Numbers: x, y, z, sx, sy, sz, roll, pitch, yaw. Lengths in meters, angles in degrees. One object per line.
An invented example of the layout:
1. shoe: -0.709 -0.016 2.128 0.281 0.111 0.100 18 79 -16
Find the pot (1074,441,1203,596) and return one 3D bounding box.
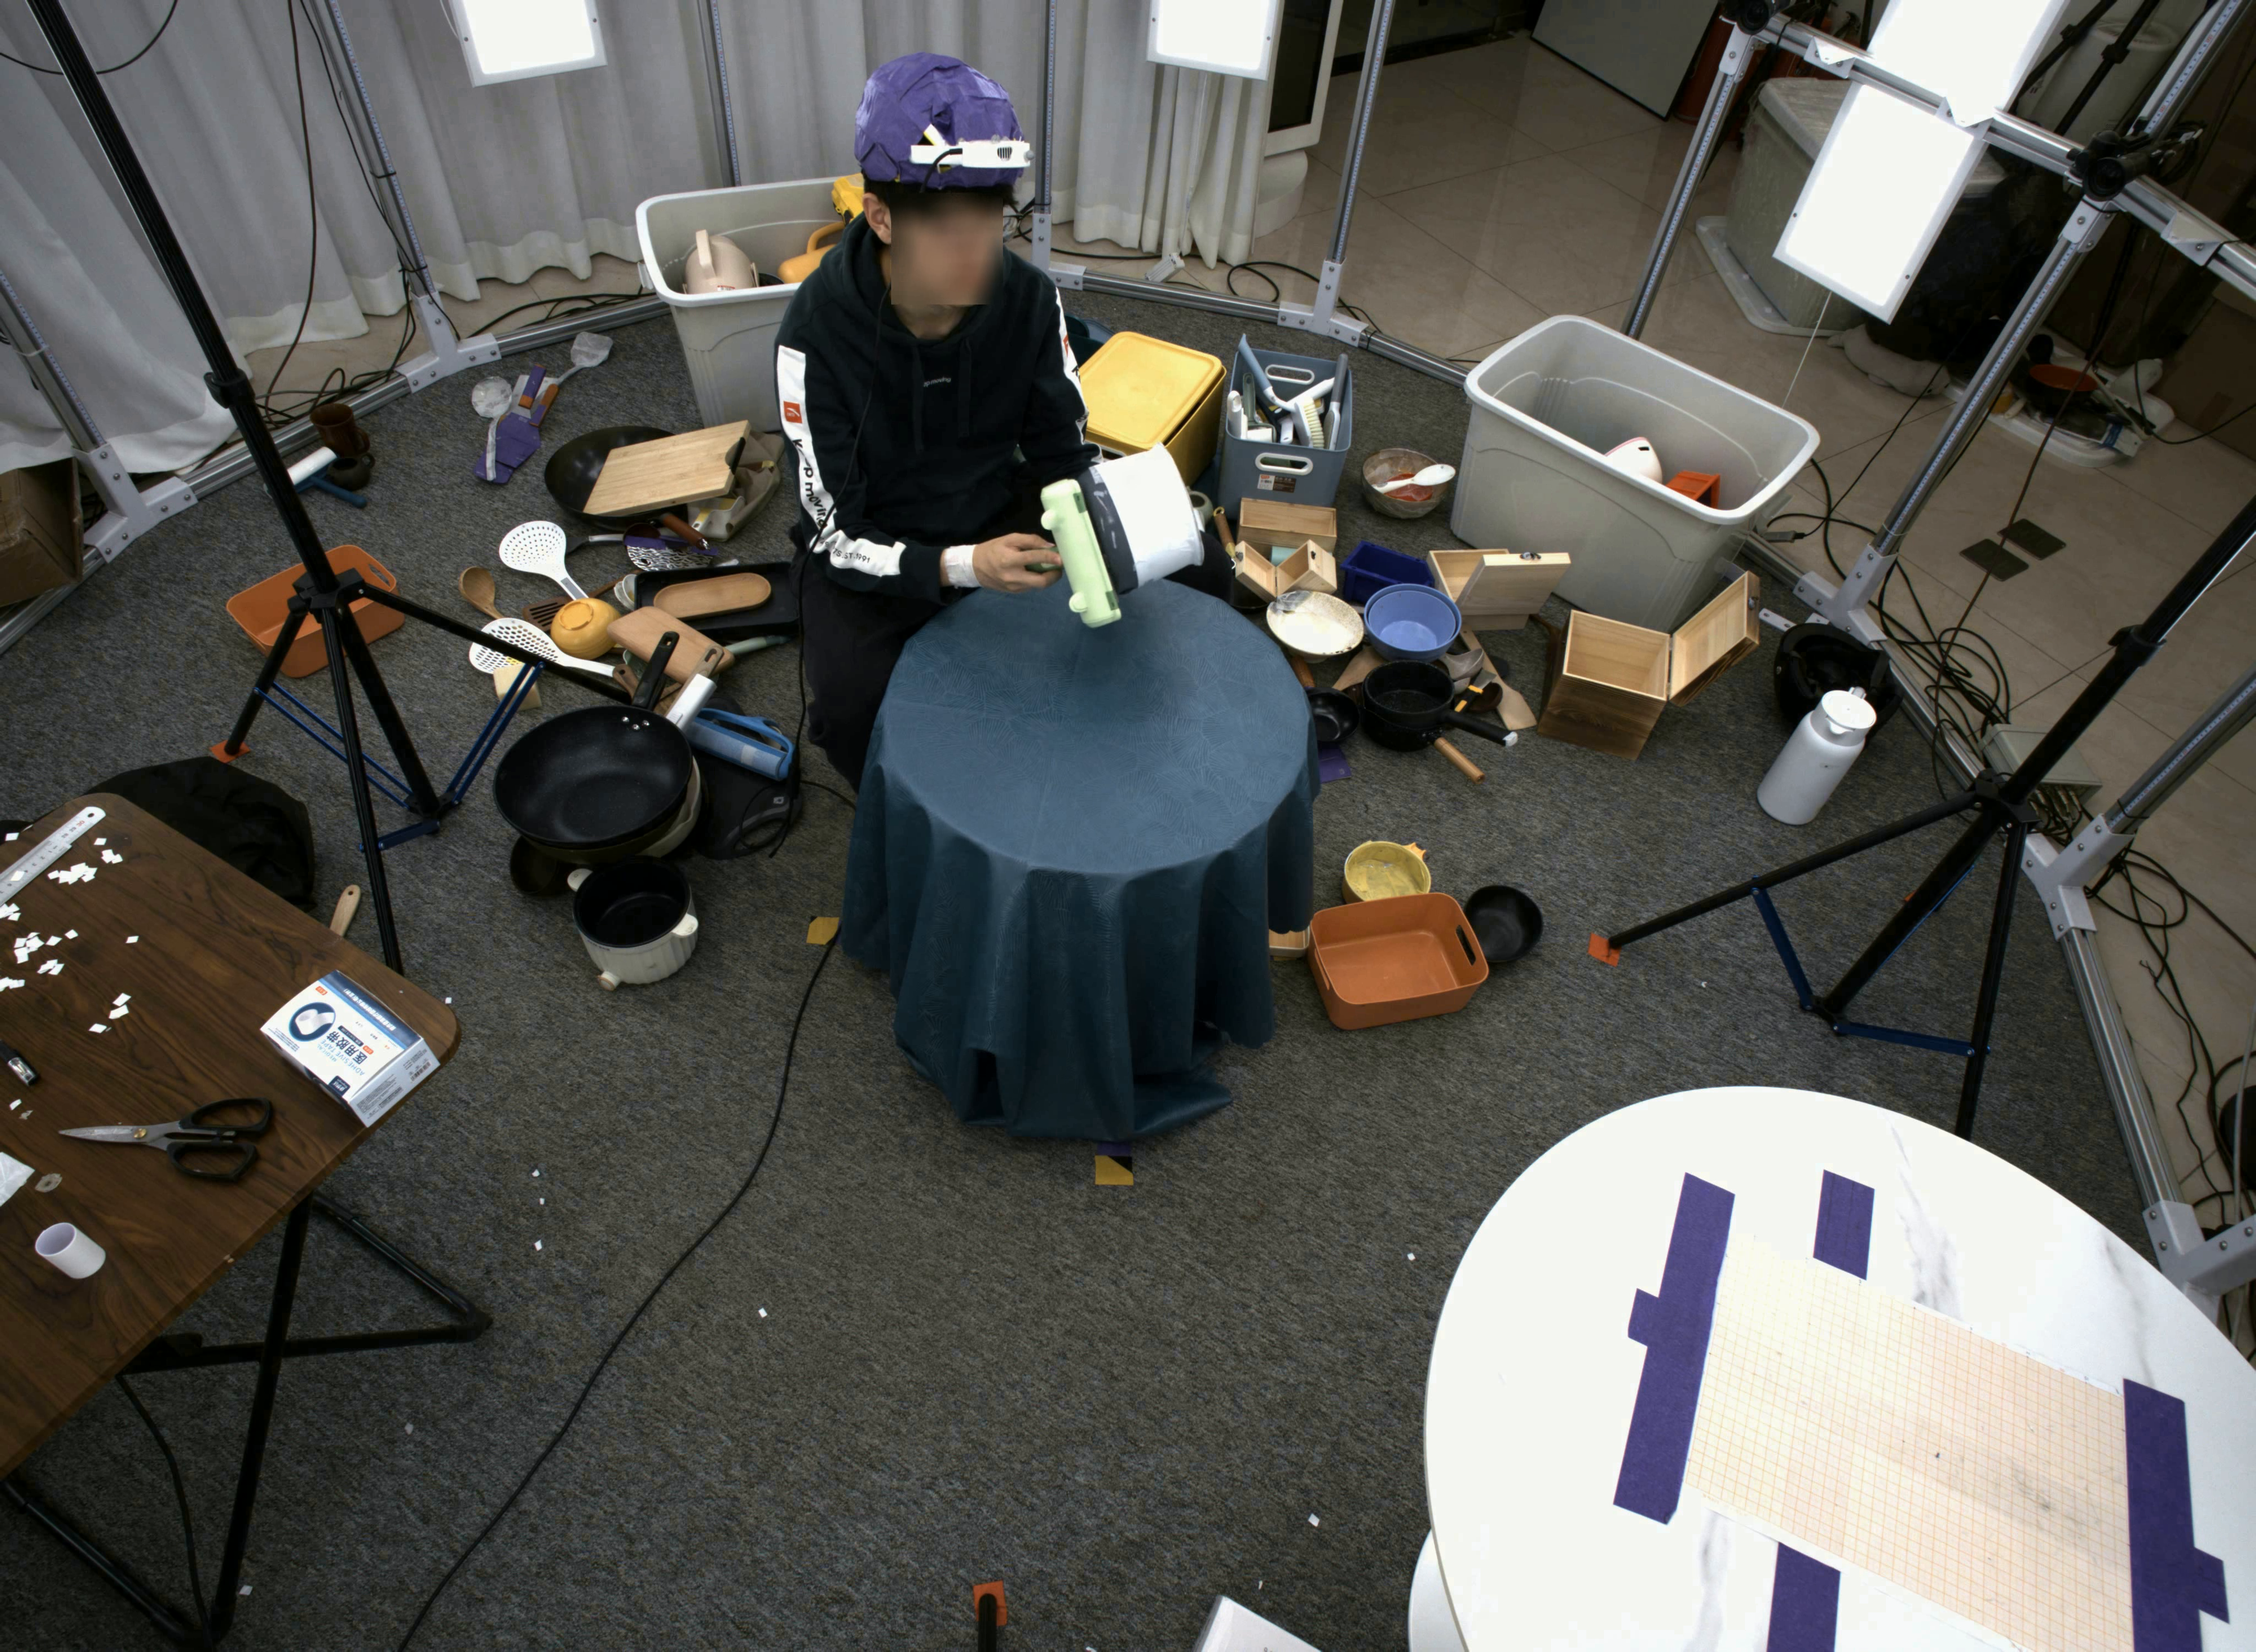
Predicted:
1. pot: 0.010 -0.422 1.807 0.136 0.233 0.179 -21 89 -2

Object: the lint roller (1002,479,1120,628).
1. lint roller: -0.114 -0.357 1.750 0.183 0.196 0.083 -6 23 33
